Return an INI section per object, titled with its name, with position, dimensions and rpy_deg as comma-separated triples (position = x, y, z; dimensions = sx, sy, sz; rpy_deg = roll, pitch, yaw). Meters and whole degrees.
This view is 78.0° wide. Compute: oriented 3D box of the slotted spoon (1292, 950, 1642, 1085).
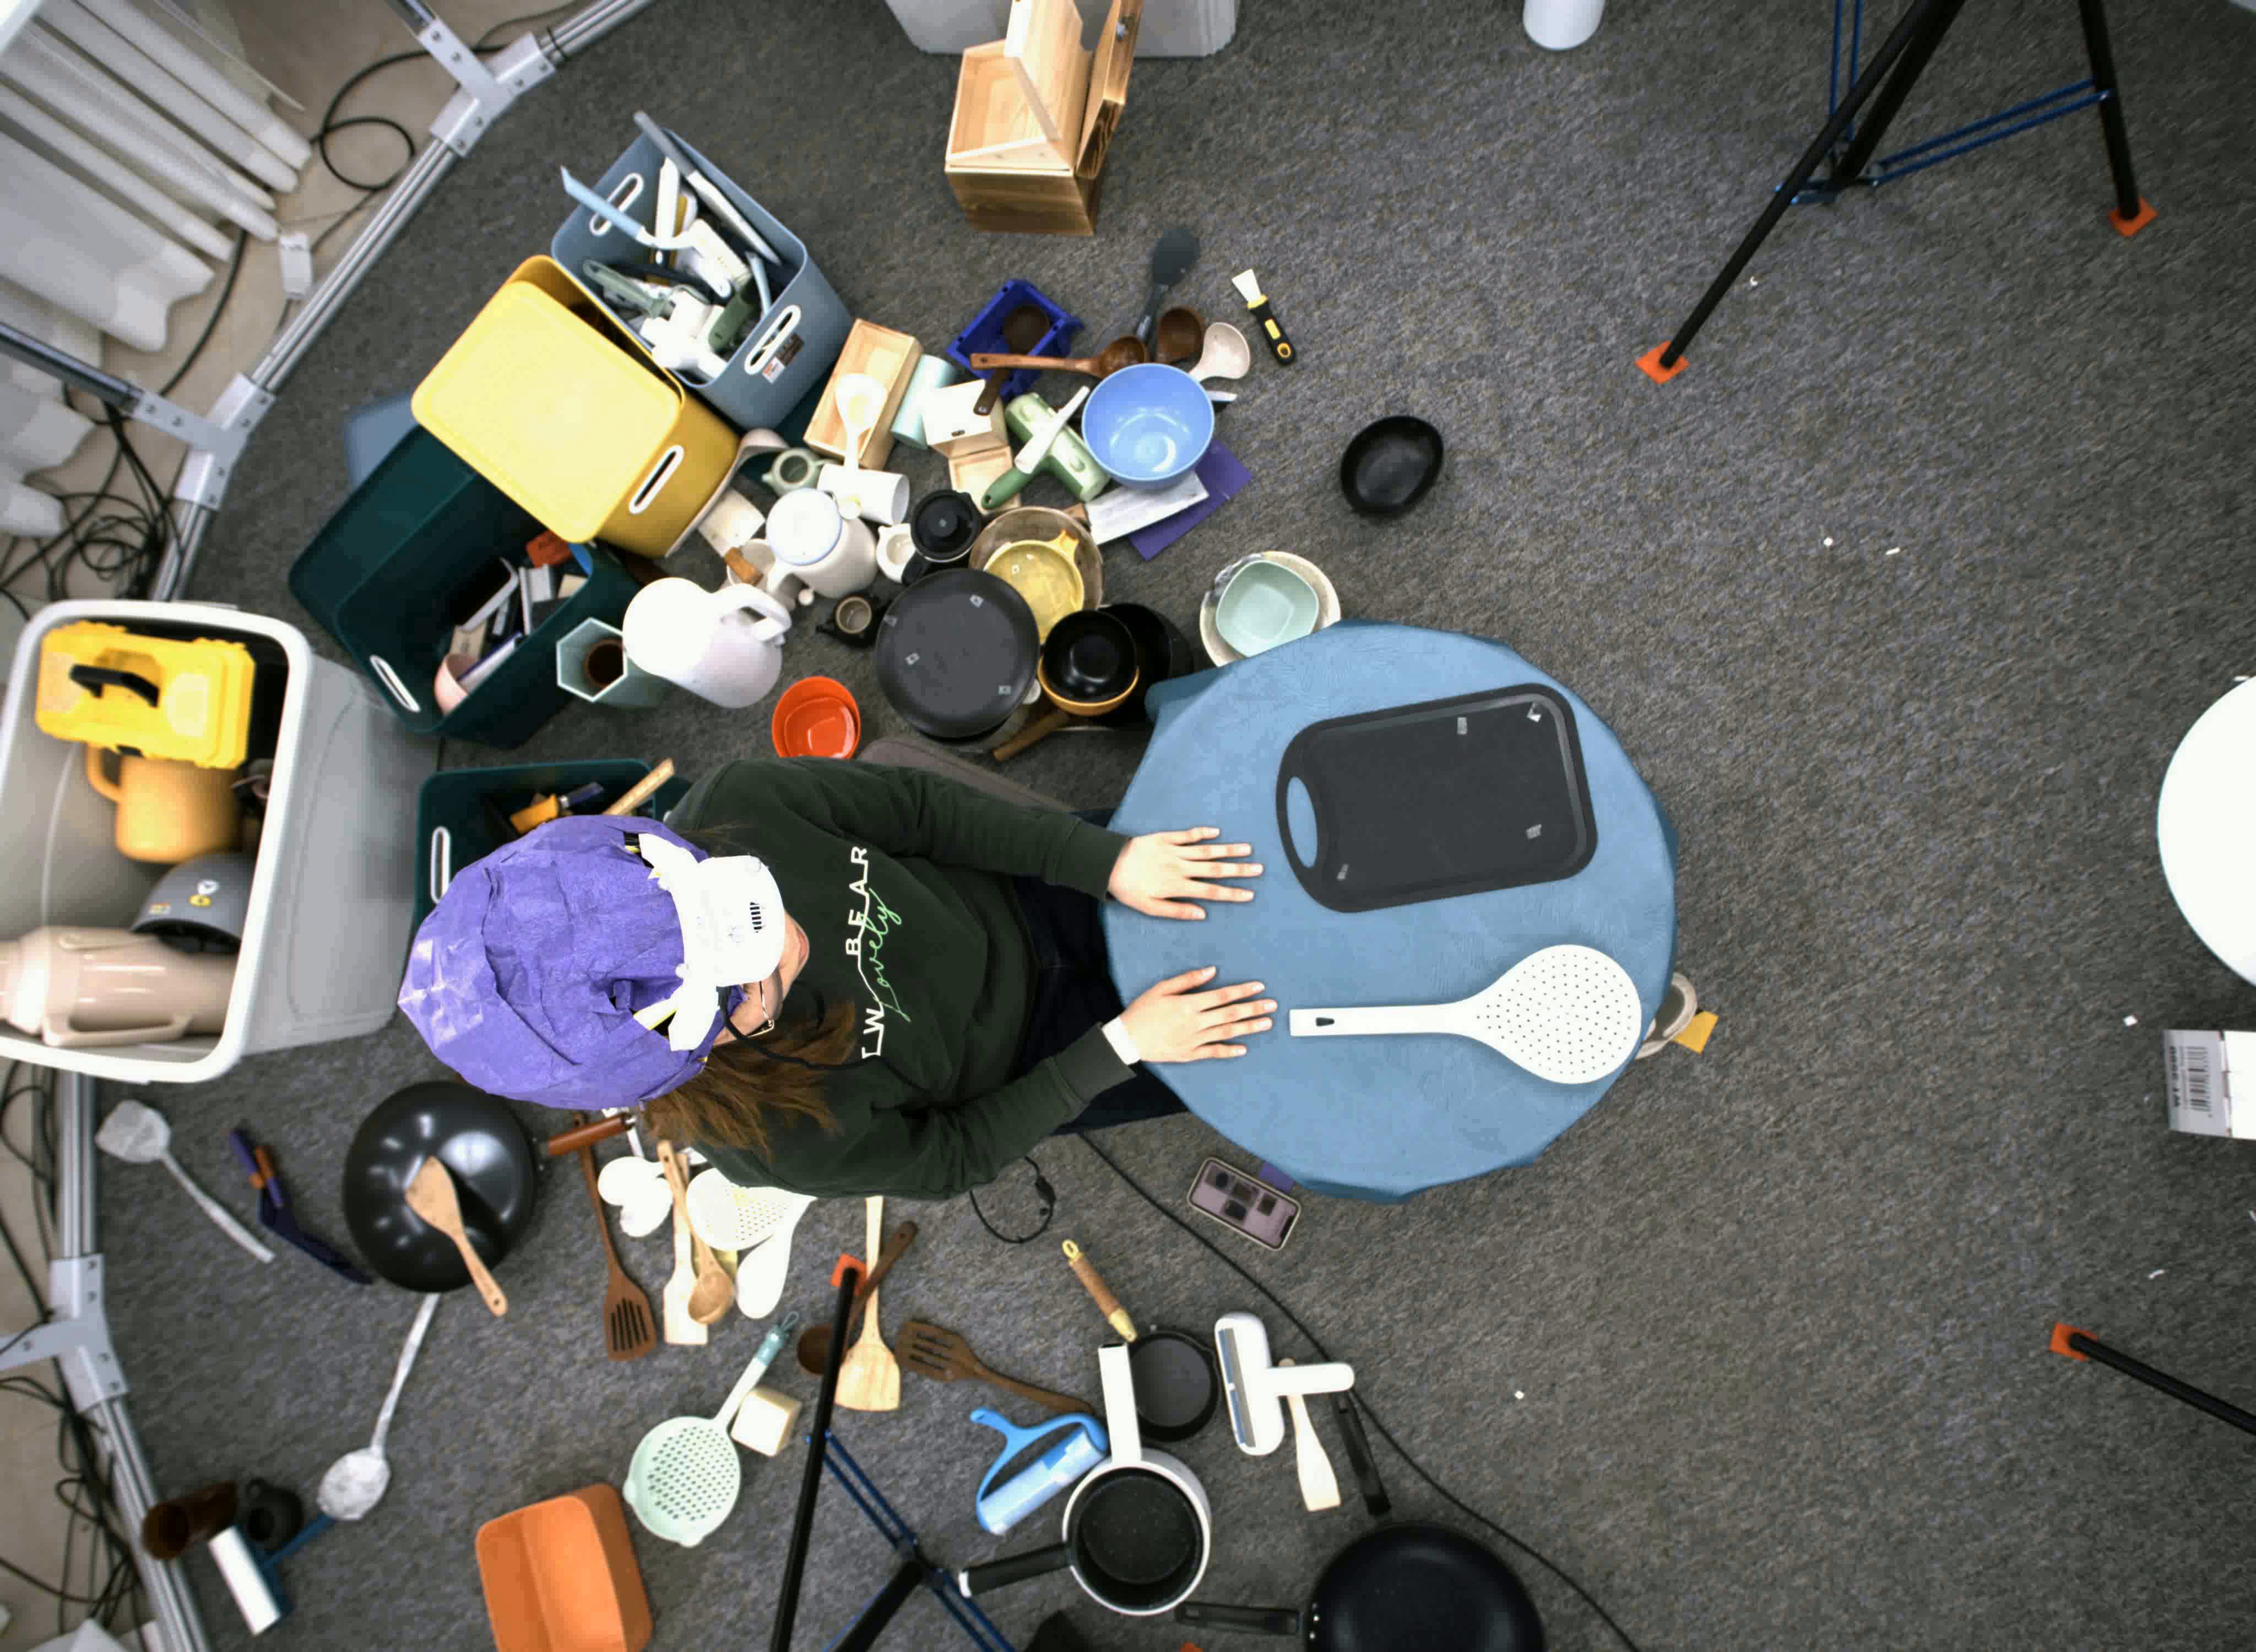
[slotted spoon]
position = 0.343, 0.197, 1.420
dimensions = 0.351, 0.046, 0.135
rpy_deg = -3, 83, 11

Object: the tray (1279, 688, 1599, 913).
[tray]
position = 0.323, -0.027, 1.458
dimensions = 0.327, 0.010, 0.210
rpy_deg = -10, 84, 10
